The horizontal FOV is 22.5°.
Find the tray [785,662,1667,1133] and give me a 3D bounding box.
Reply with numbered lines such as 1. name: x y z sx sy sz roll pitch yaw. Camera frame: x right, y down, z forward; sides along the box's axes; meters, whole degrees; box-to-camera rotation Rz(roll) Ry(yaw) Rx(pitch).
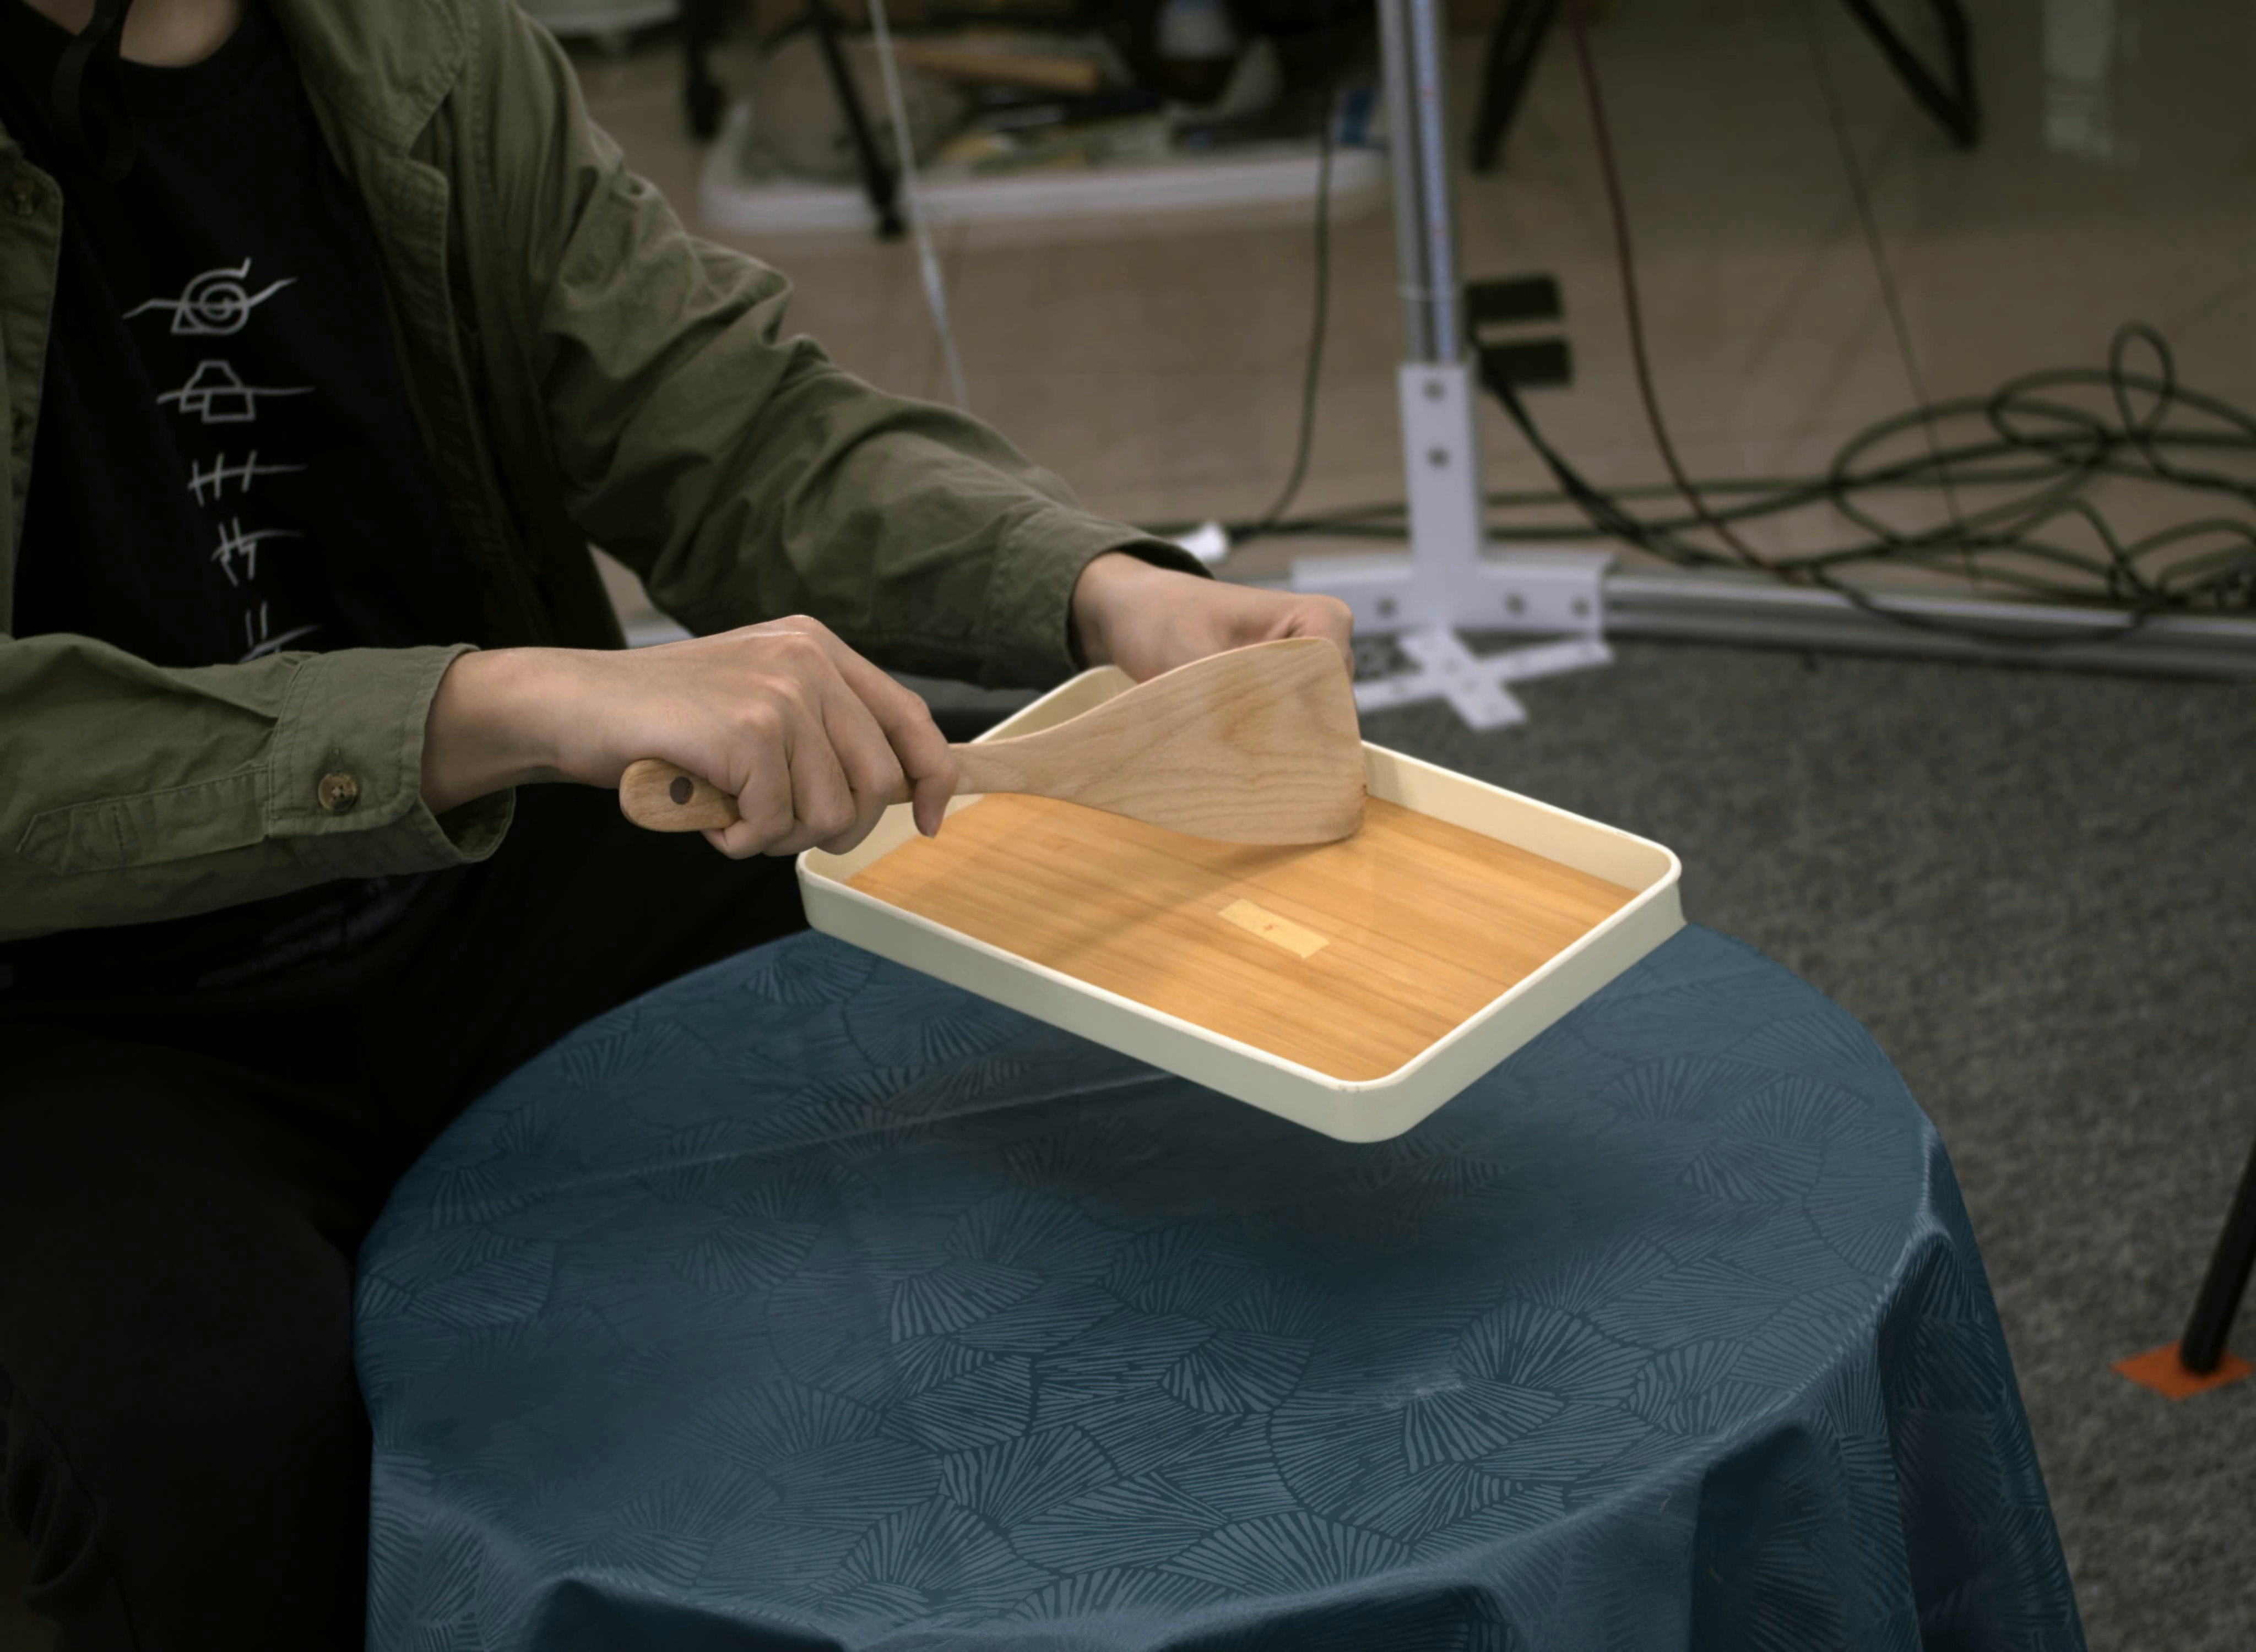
1. tray: 0.034 0.022 2.128 0.298 0.028 0.190 20 41 40

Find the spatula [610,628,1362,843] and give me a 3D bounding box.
1. spatula: -0.047 -0.023 2.066 0.327 0.080 0.016 -7 9 -36
